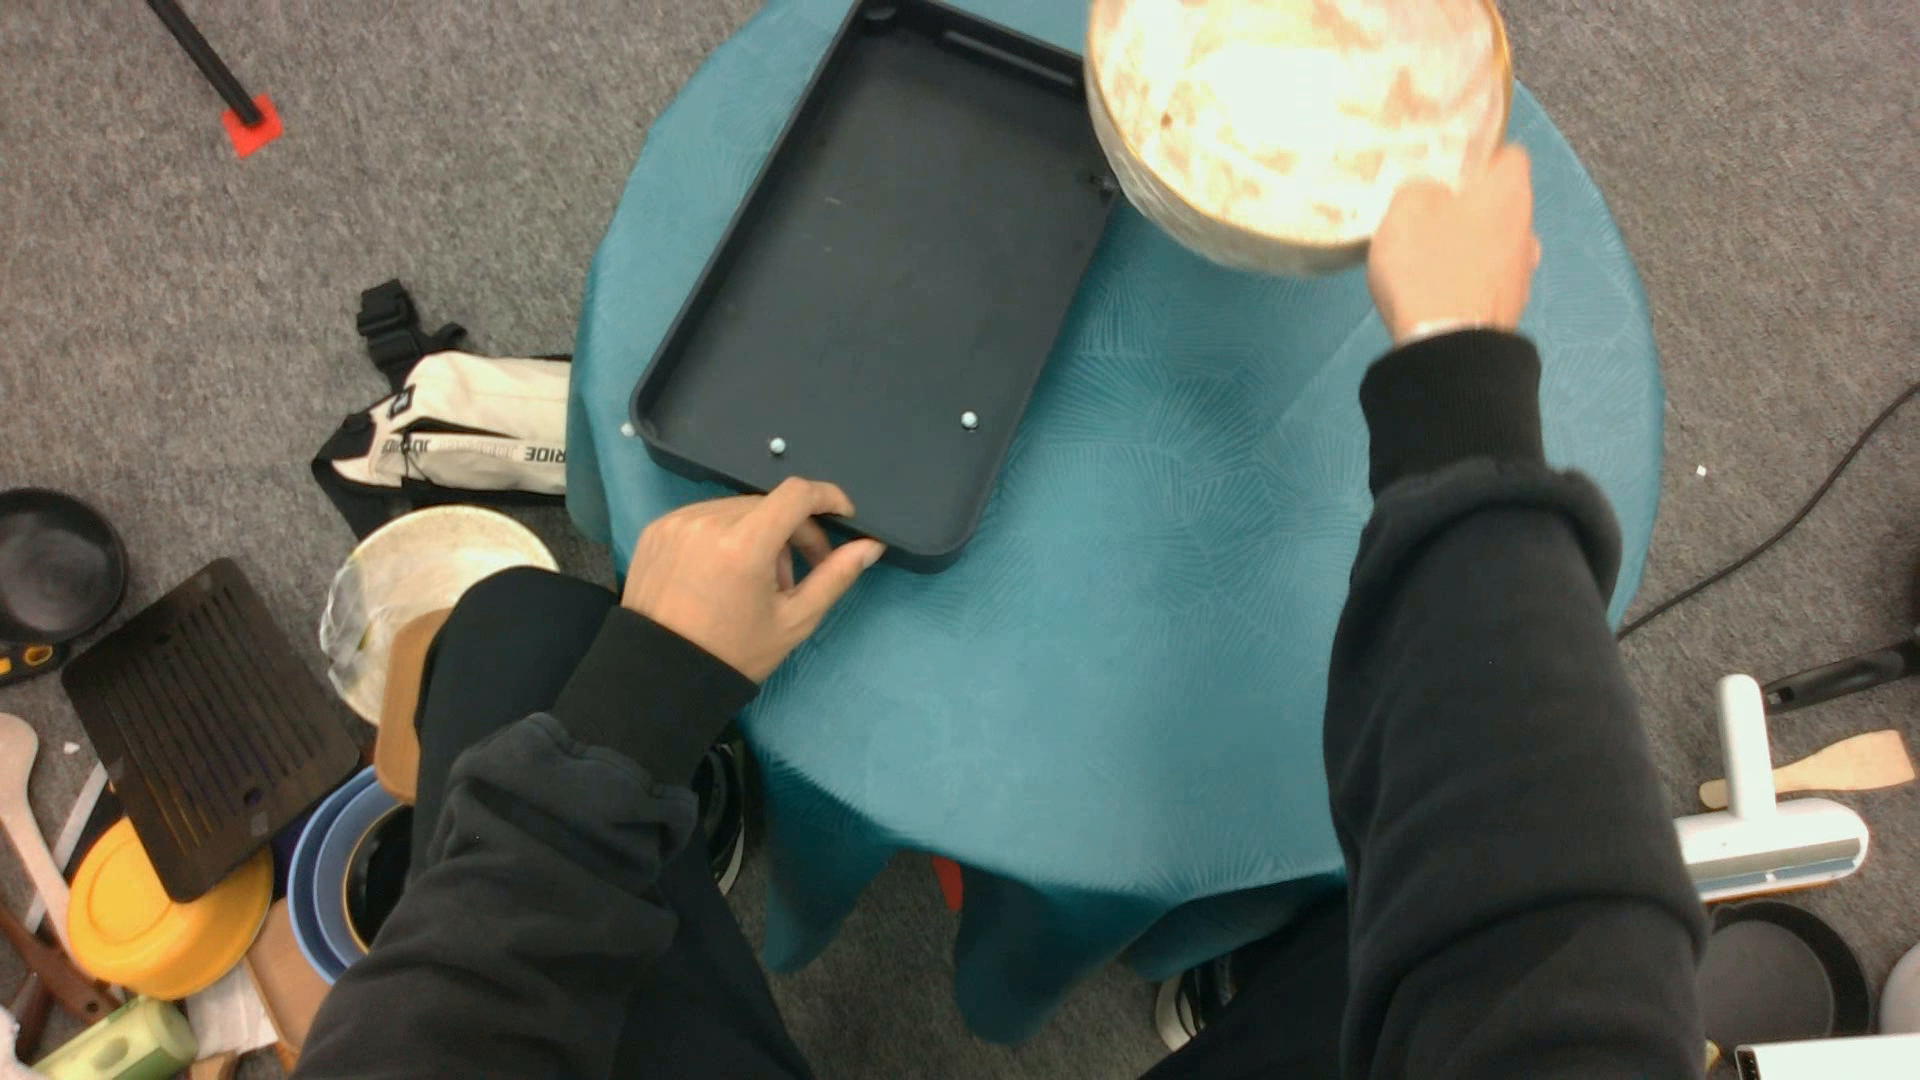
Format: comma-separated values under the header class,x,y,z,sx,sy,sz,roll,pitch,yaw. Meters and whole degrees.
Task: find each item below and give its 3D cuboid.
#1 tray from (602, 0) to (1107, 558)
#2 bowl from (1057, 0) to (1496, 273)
class,x,y,z,sx,sy,sz,roll,pitch,yaw
tray,-0.040,-0.158,0.739,0.184,0.037,0.319,24,69,2
bowl,0.146,-0.211,0.689,0.215,0.094,0.215,3,70,-7
